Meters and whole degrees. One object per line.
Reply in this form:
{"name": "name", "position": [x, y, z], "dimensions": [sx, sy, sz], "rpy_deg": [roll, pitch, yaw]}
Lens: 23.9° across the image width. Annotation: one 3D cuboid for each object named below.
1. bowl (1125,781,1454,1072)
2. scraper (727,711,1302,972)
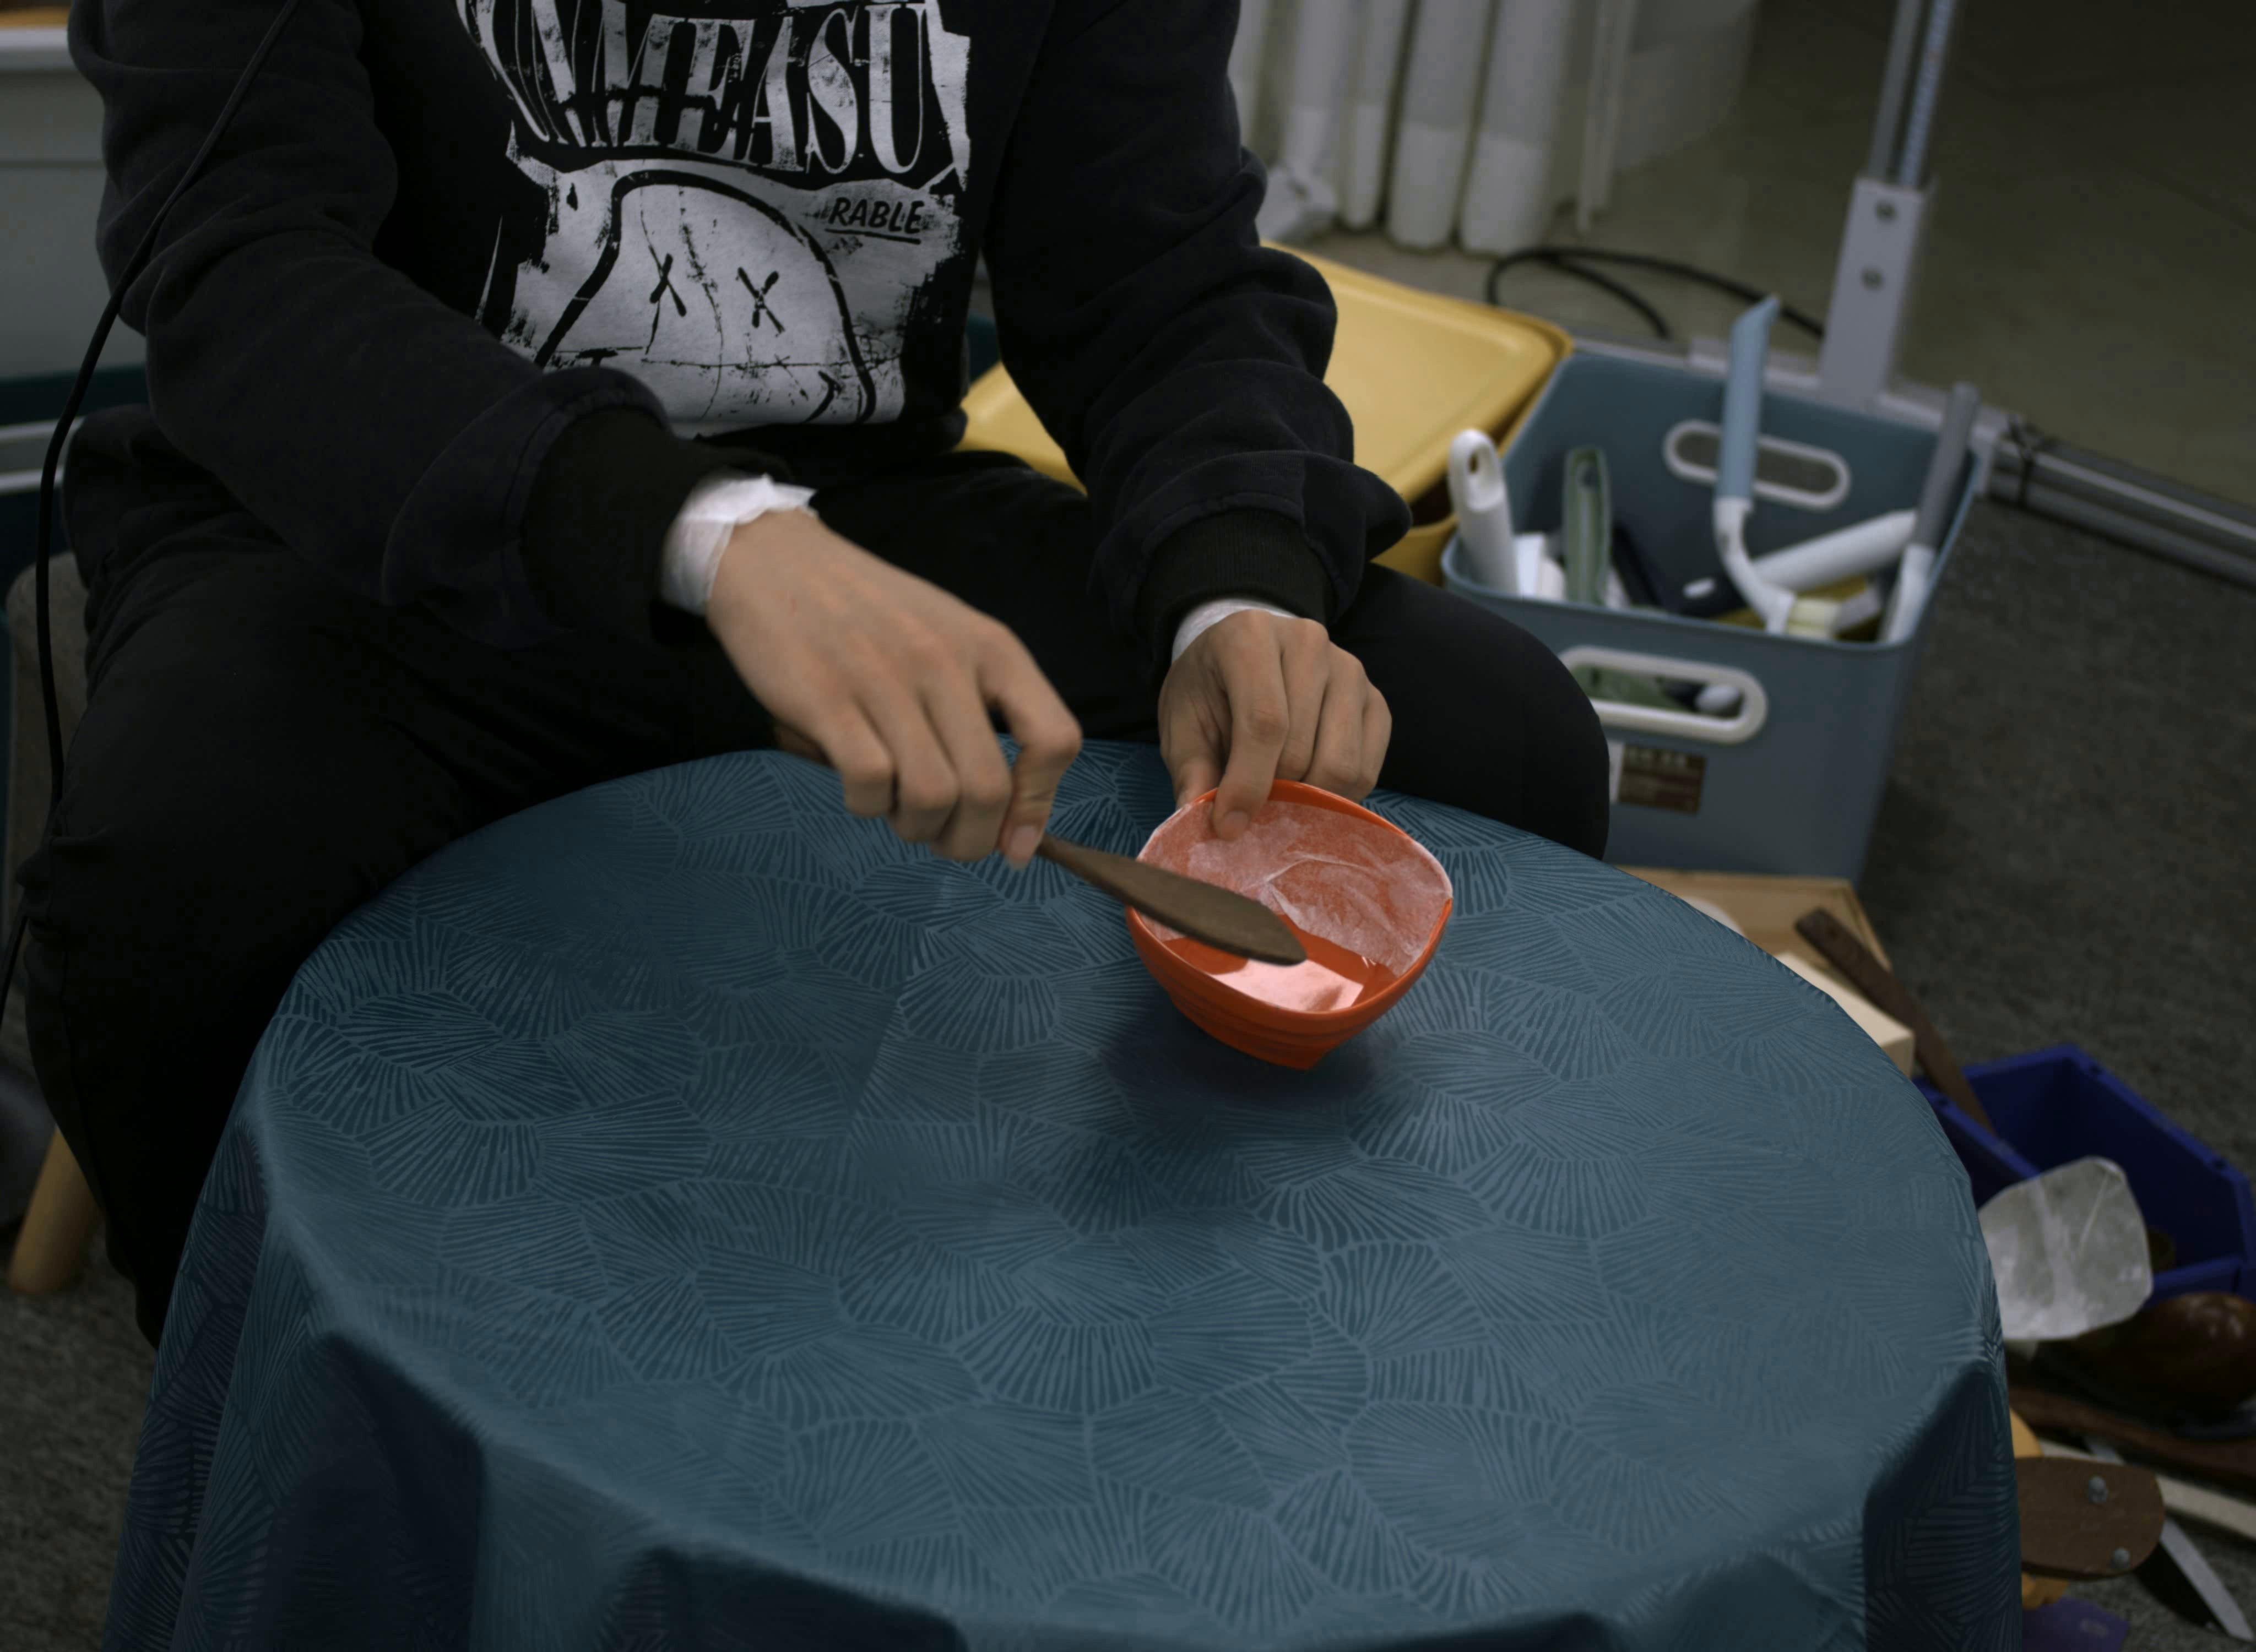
{"name": "bowl", "position": [0.055, 0.042, 1.899], "dimensions": [0.118, 0.051, 0.120], "rpy_deg": [3, 45, -4]}
{"name": "scraper", "position": [-0.039, 0.004, 1.792], "dimensions": [0.210, 0.011, 0.076], "rpy_deg": [23, 11, -17]}
